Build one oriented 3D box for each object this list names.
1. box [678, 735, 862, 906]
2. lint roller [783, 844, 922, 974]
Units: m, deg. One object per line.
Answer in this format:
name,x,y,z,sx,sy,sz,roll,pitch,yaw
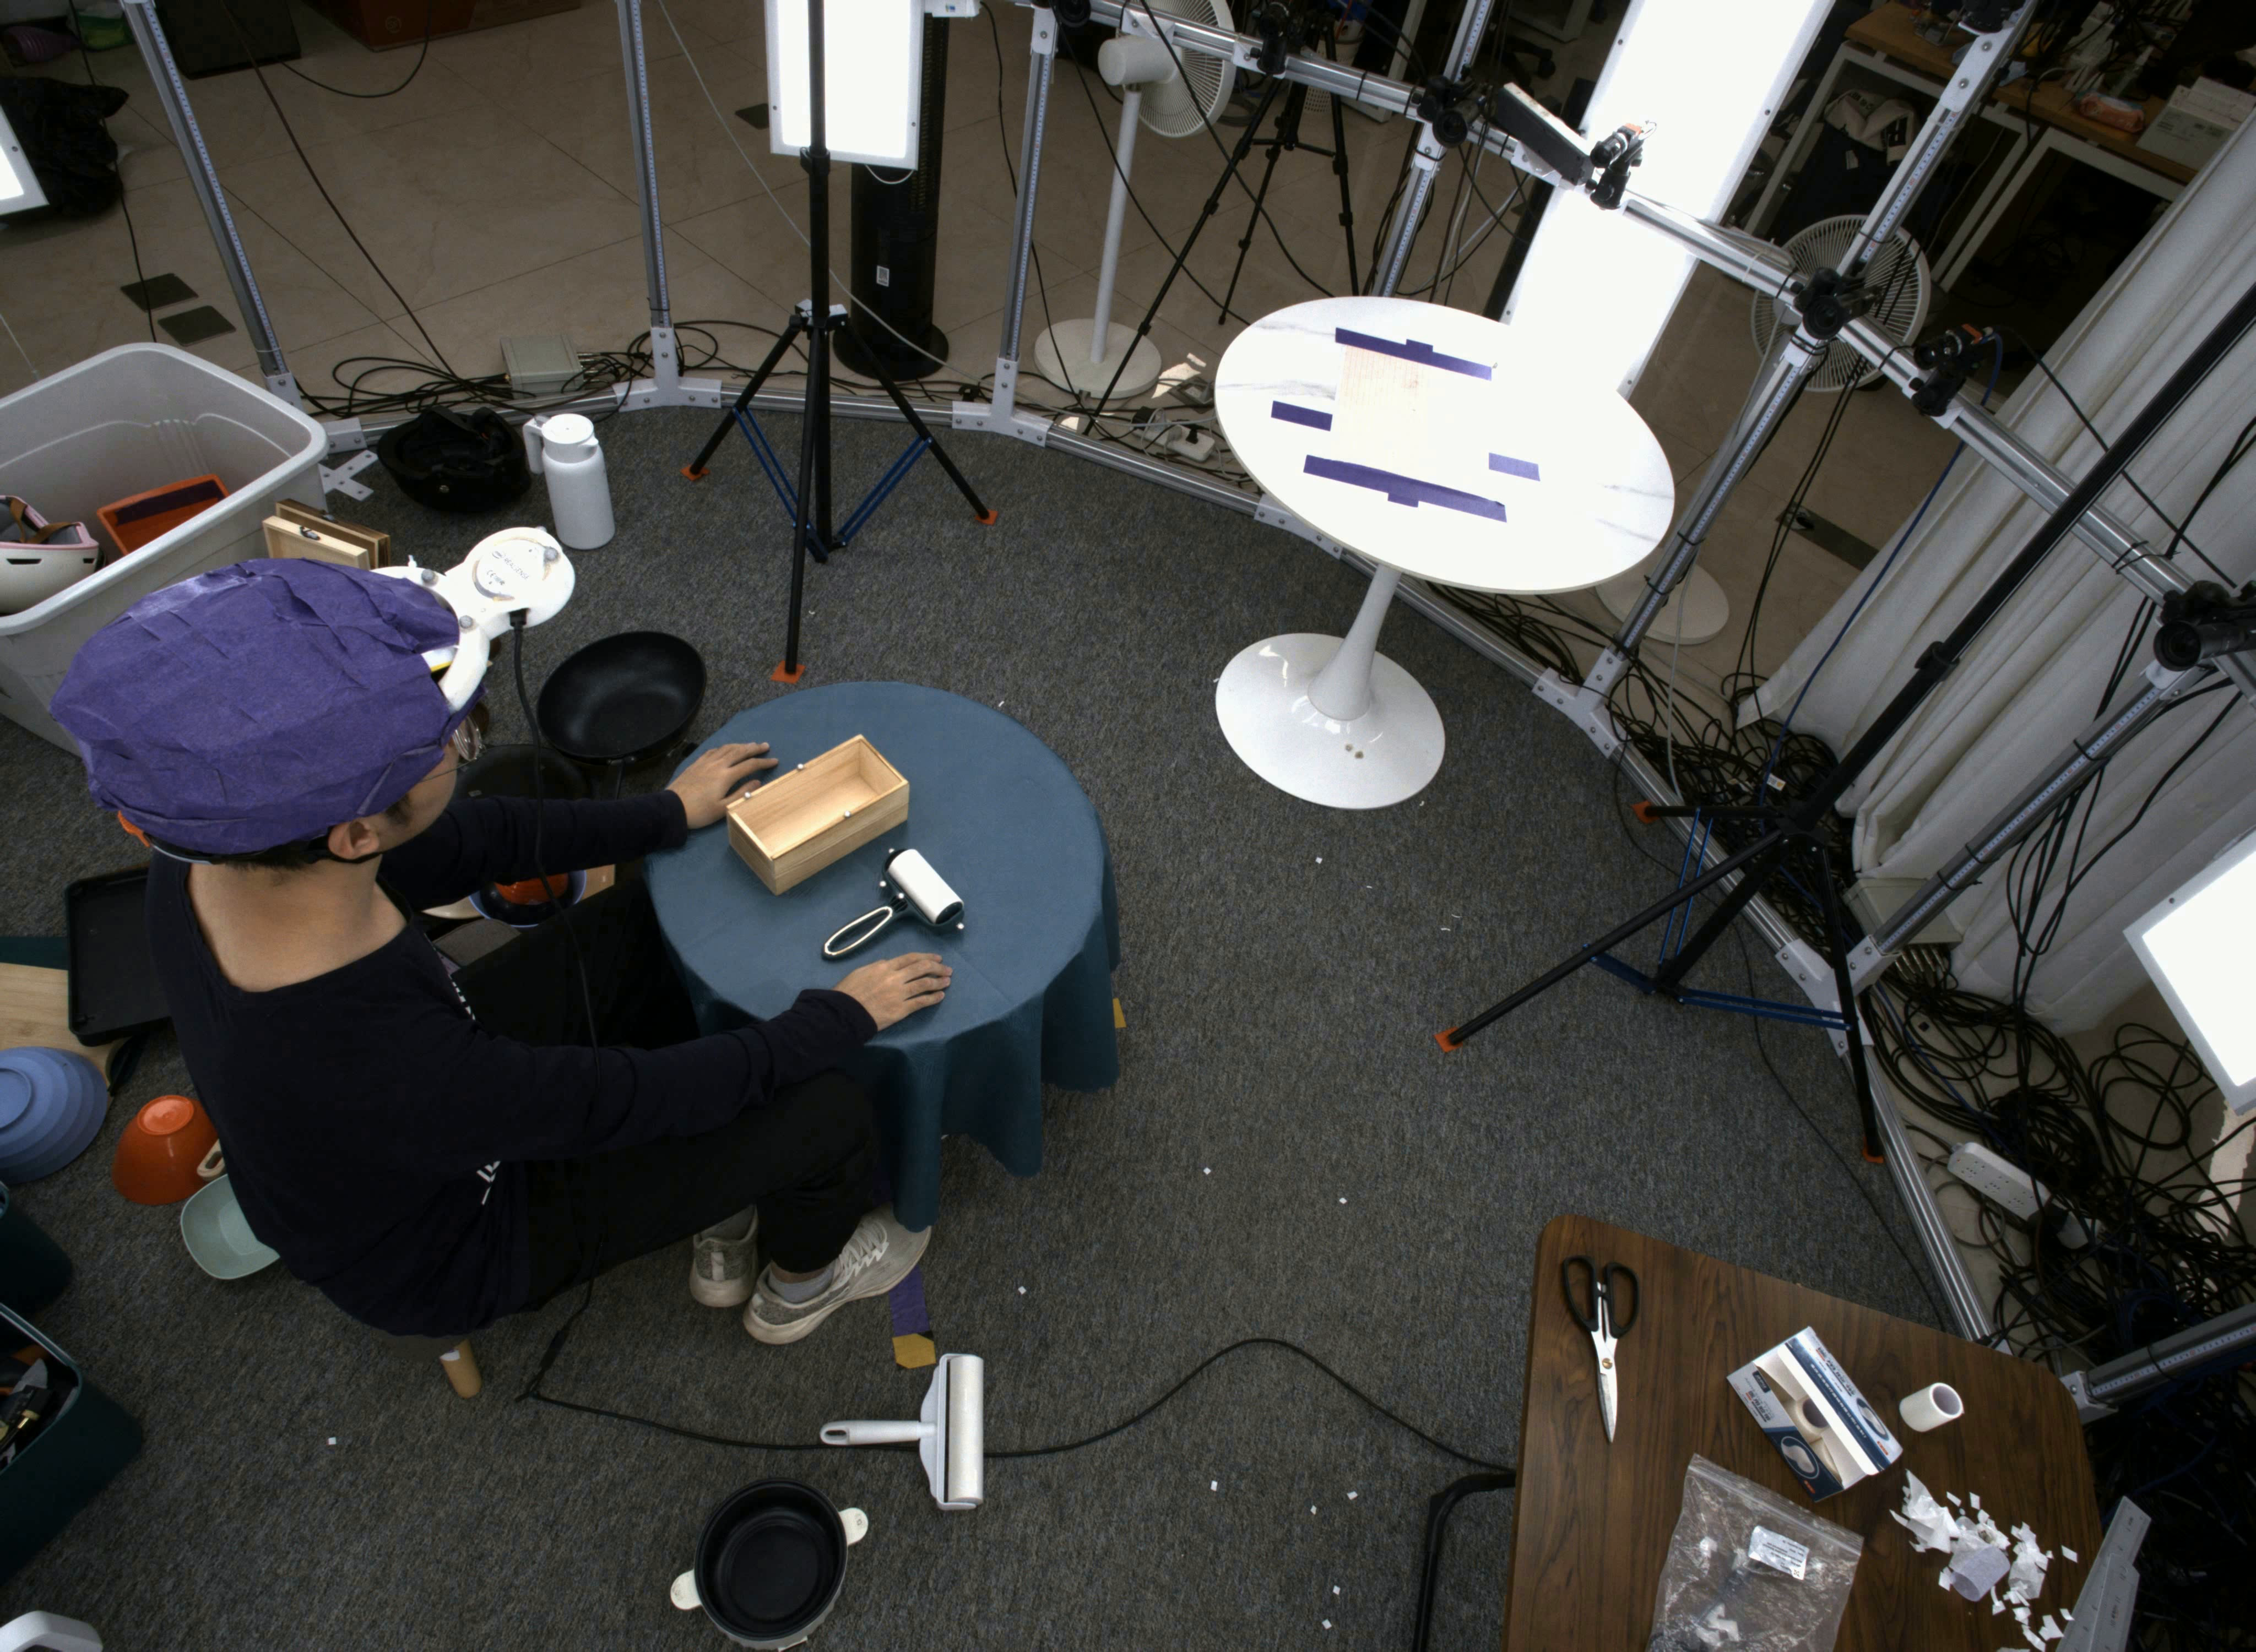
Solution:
box,-0.462,-0.010,1.682,0.105,0.082,0.212,41,57,17
lint roller,-0.363,0.117,1.639,0.131,0.049,0.180,43,60,18
